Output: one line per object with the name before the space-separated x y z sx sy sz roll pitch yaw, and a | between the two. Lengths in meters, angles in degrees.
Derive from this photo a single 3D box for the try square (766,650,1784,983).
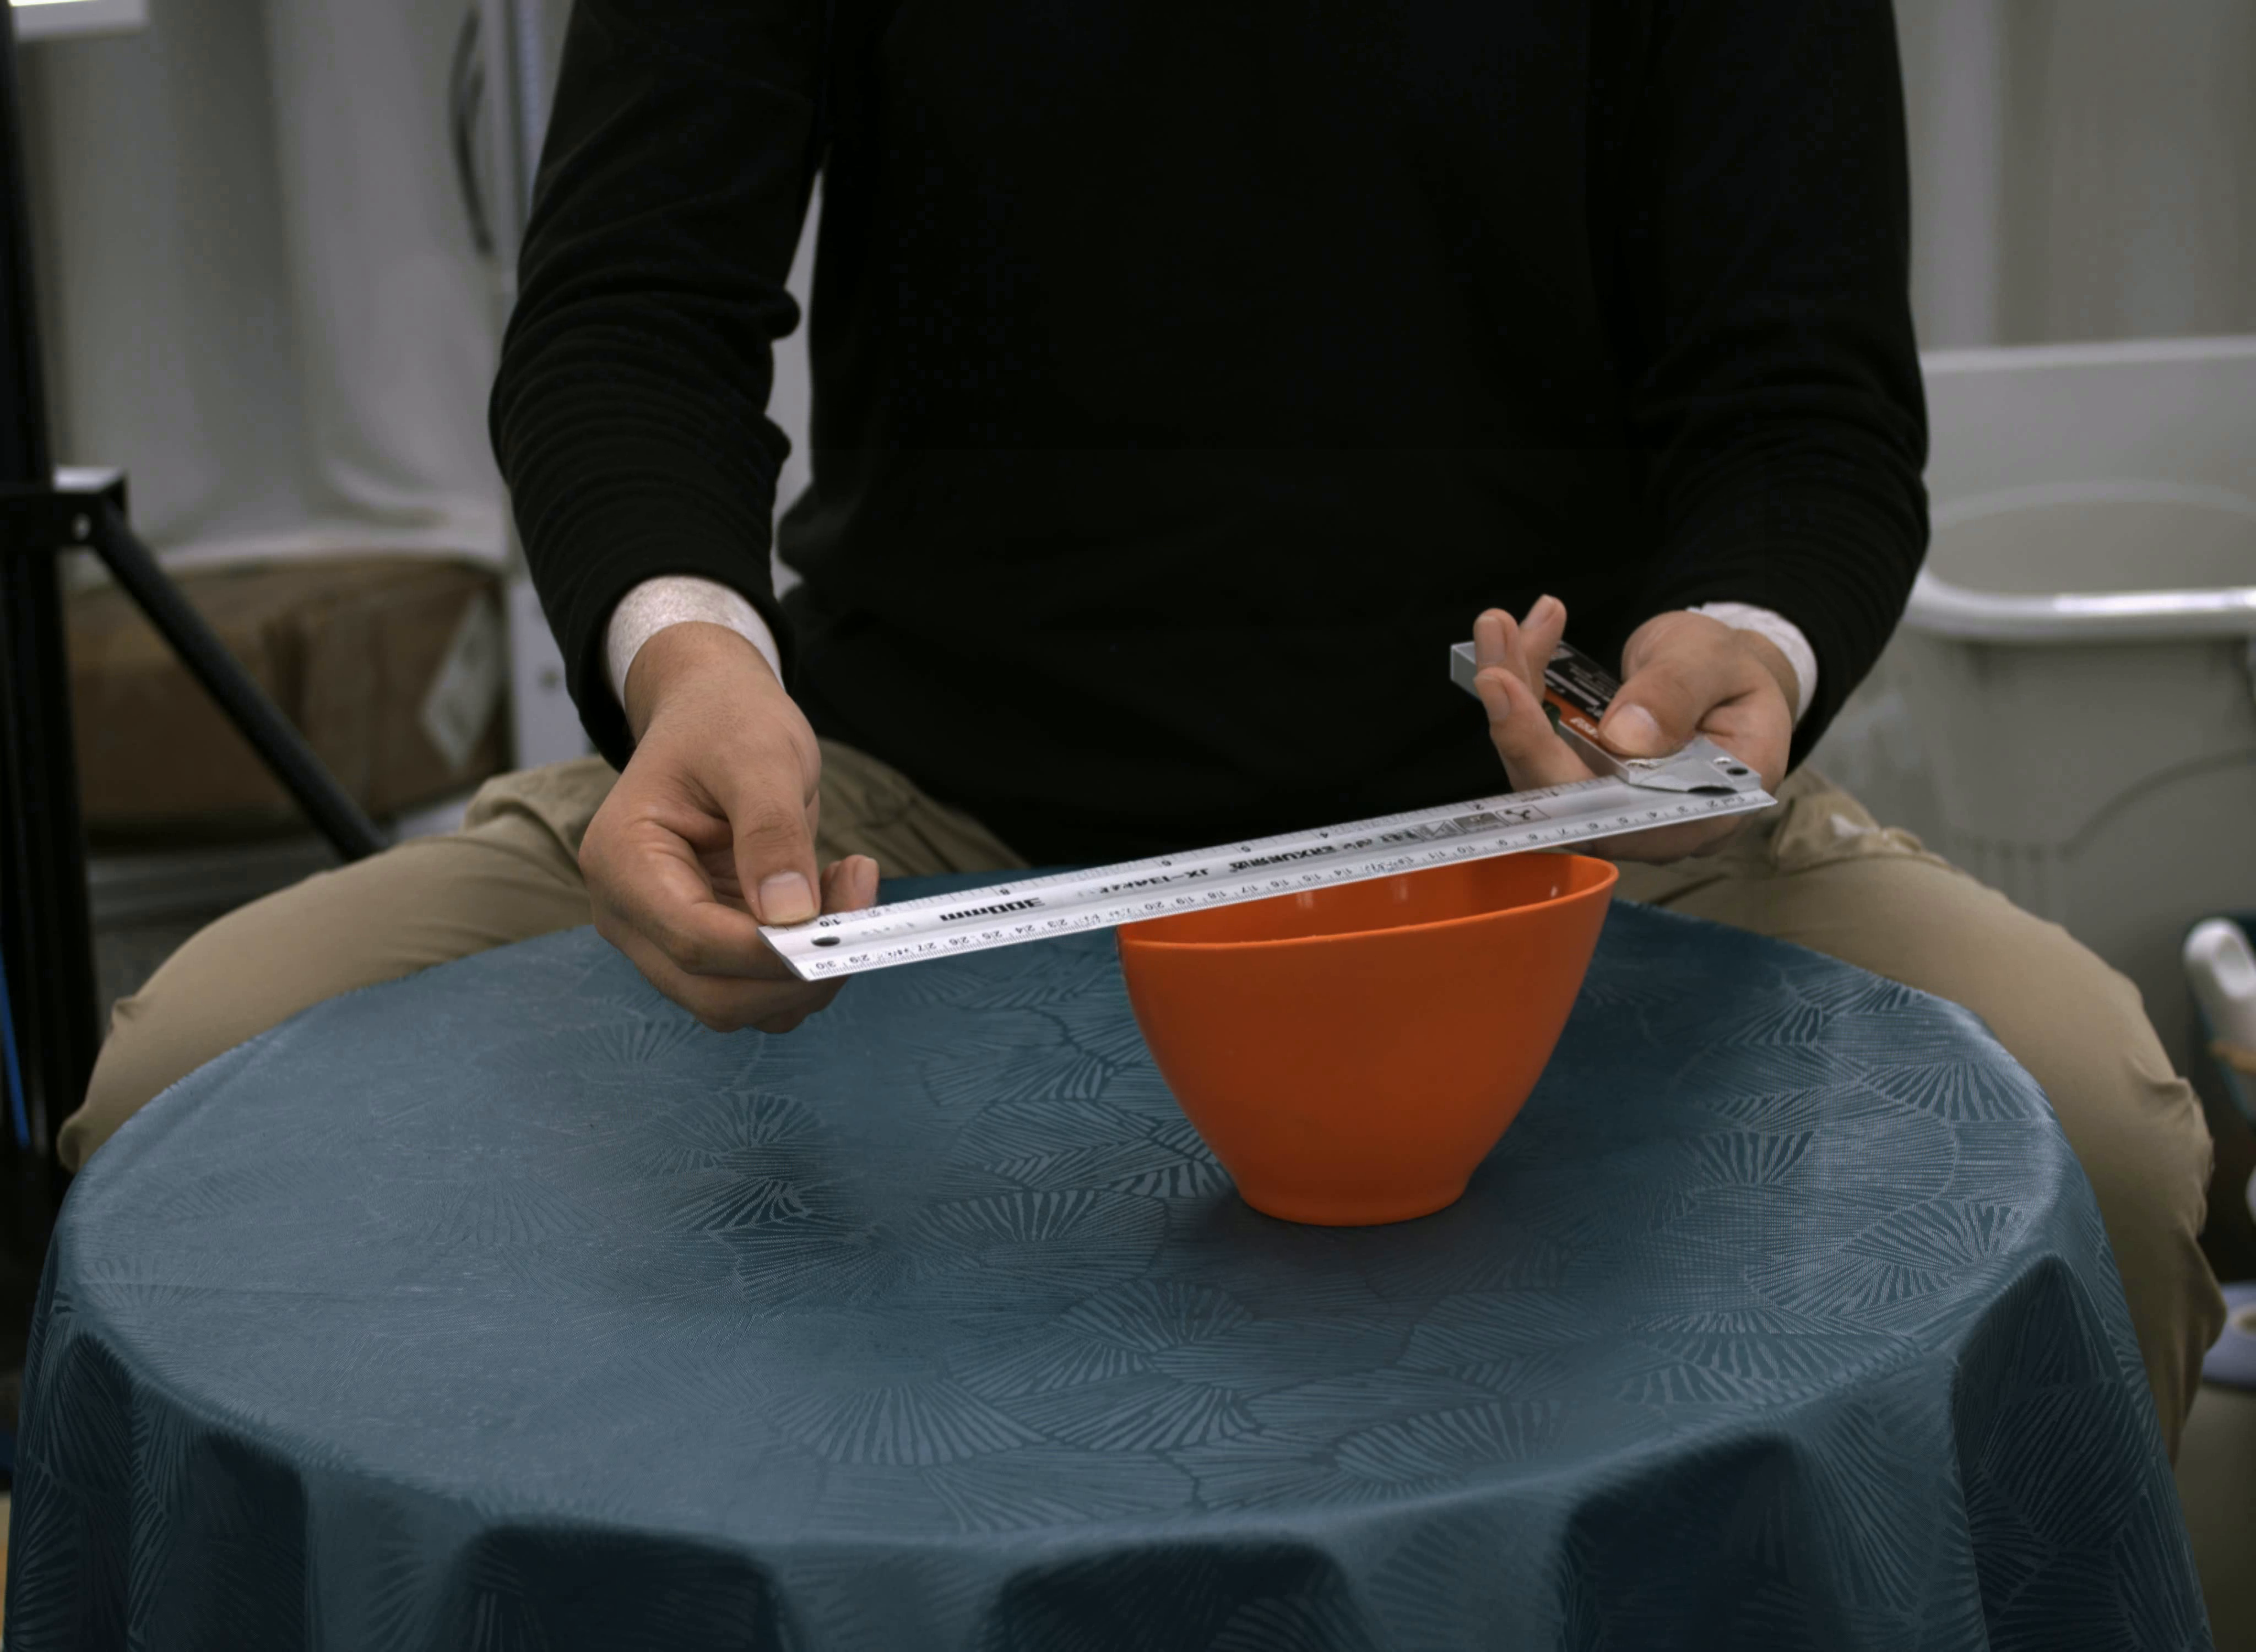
try square | 0.026 -0.004 1.585 0.307 0.016 0.155 -10 21 -20

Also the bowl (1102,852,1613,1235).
bowl | 0.067 0.061 1.527 0.147 0.104 0.149 -4 15 0
